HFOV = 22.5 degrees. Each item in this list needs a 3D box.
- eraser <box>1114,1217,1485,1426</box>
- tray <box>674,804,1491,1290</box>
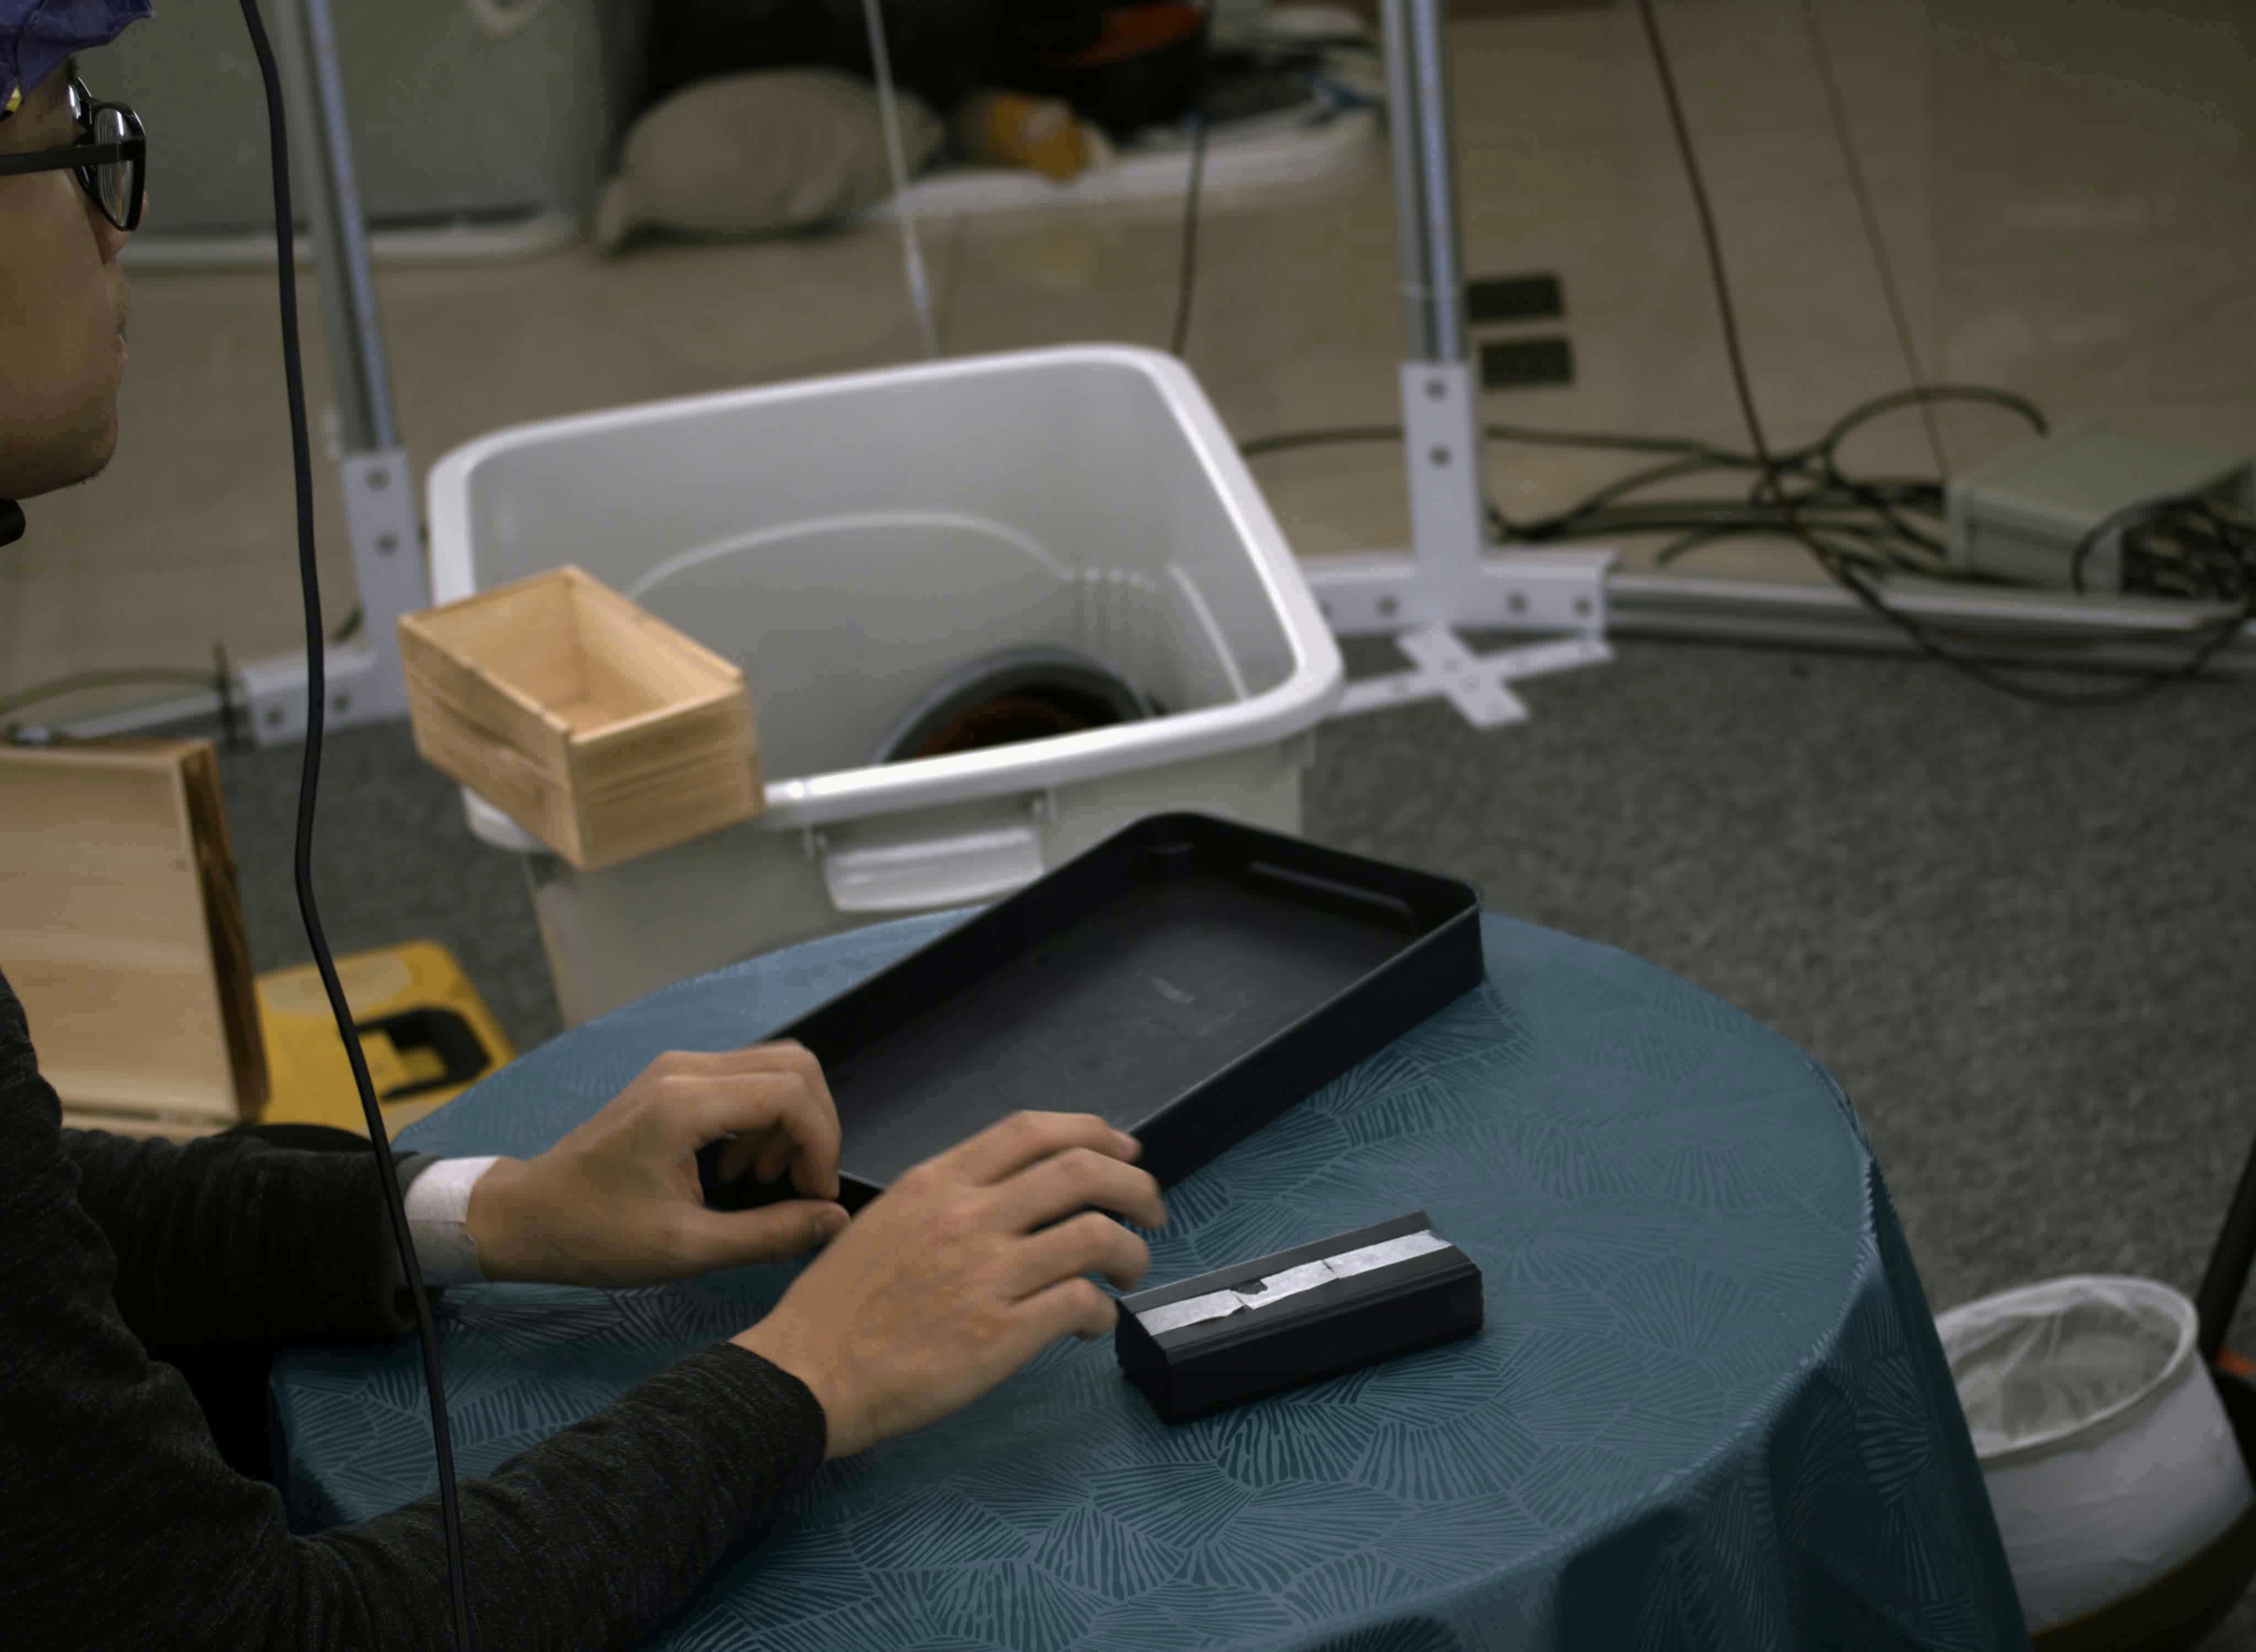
[{"bbox_3d":[0.062,0.175,2.022,0.125,0.031,0.053,-16,24,-17],"label":"eraser"},{"bbox_3d":[-0.013,0.081,2.235,0.183,0.037,0.315,14,33,38],"label":"tray"}]
